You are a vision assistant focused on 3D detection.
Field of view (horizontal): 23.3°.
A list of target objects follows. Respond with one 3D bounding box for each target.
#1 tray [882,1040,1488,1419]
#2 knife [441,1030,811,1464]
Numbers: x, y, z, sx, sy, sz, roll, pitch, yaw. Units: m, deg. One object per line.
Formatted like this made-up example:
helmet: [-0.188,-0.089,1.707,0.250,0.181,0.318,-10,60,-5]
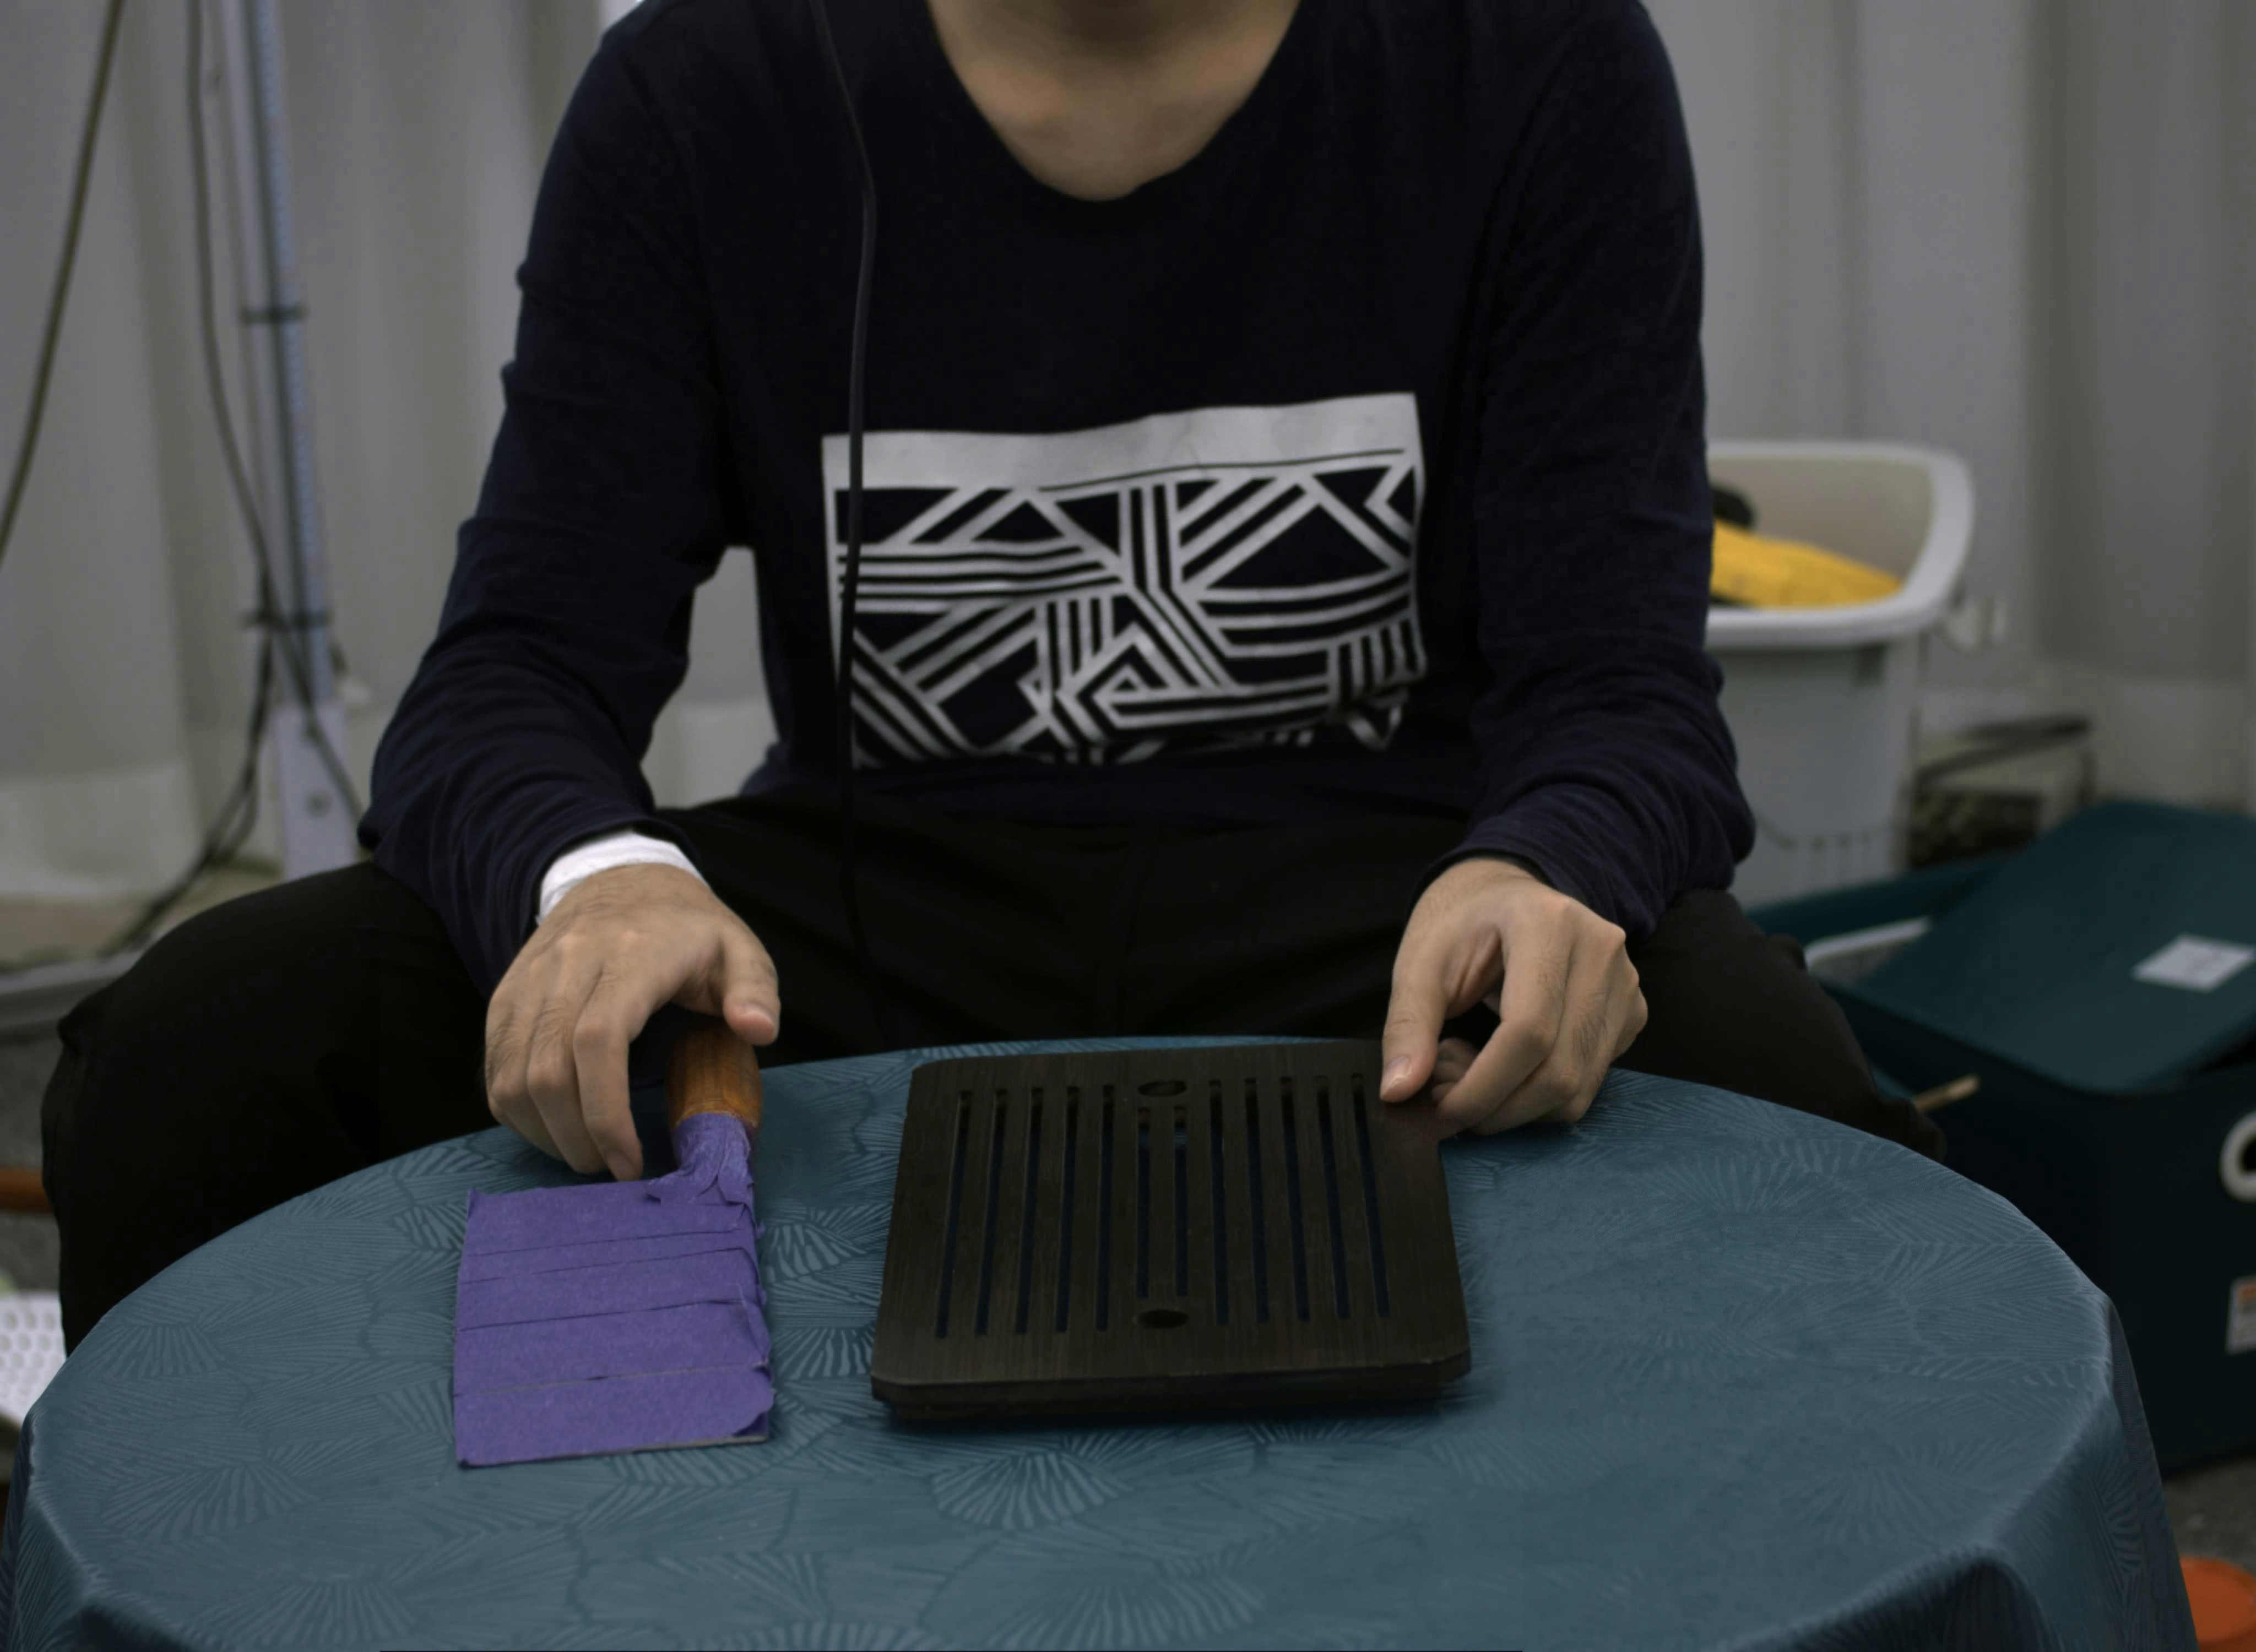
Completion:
tray: [0.016,0.120,1.660,0.169,0.018,0.308,-3,14,1]
knife: [-0.156,0.124,1.661,0.103,0.032,0.317,-4,15,-5]
